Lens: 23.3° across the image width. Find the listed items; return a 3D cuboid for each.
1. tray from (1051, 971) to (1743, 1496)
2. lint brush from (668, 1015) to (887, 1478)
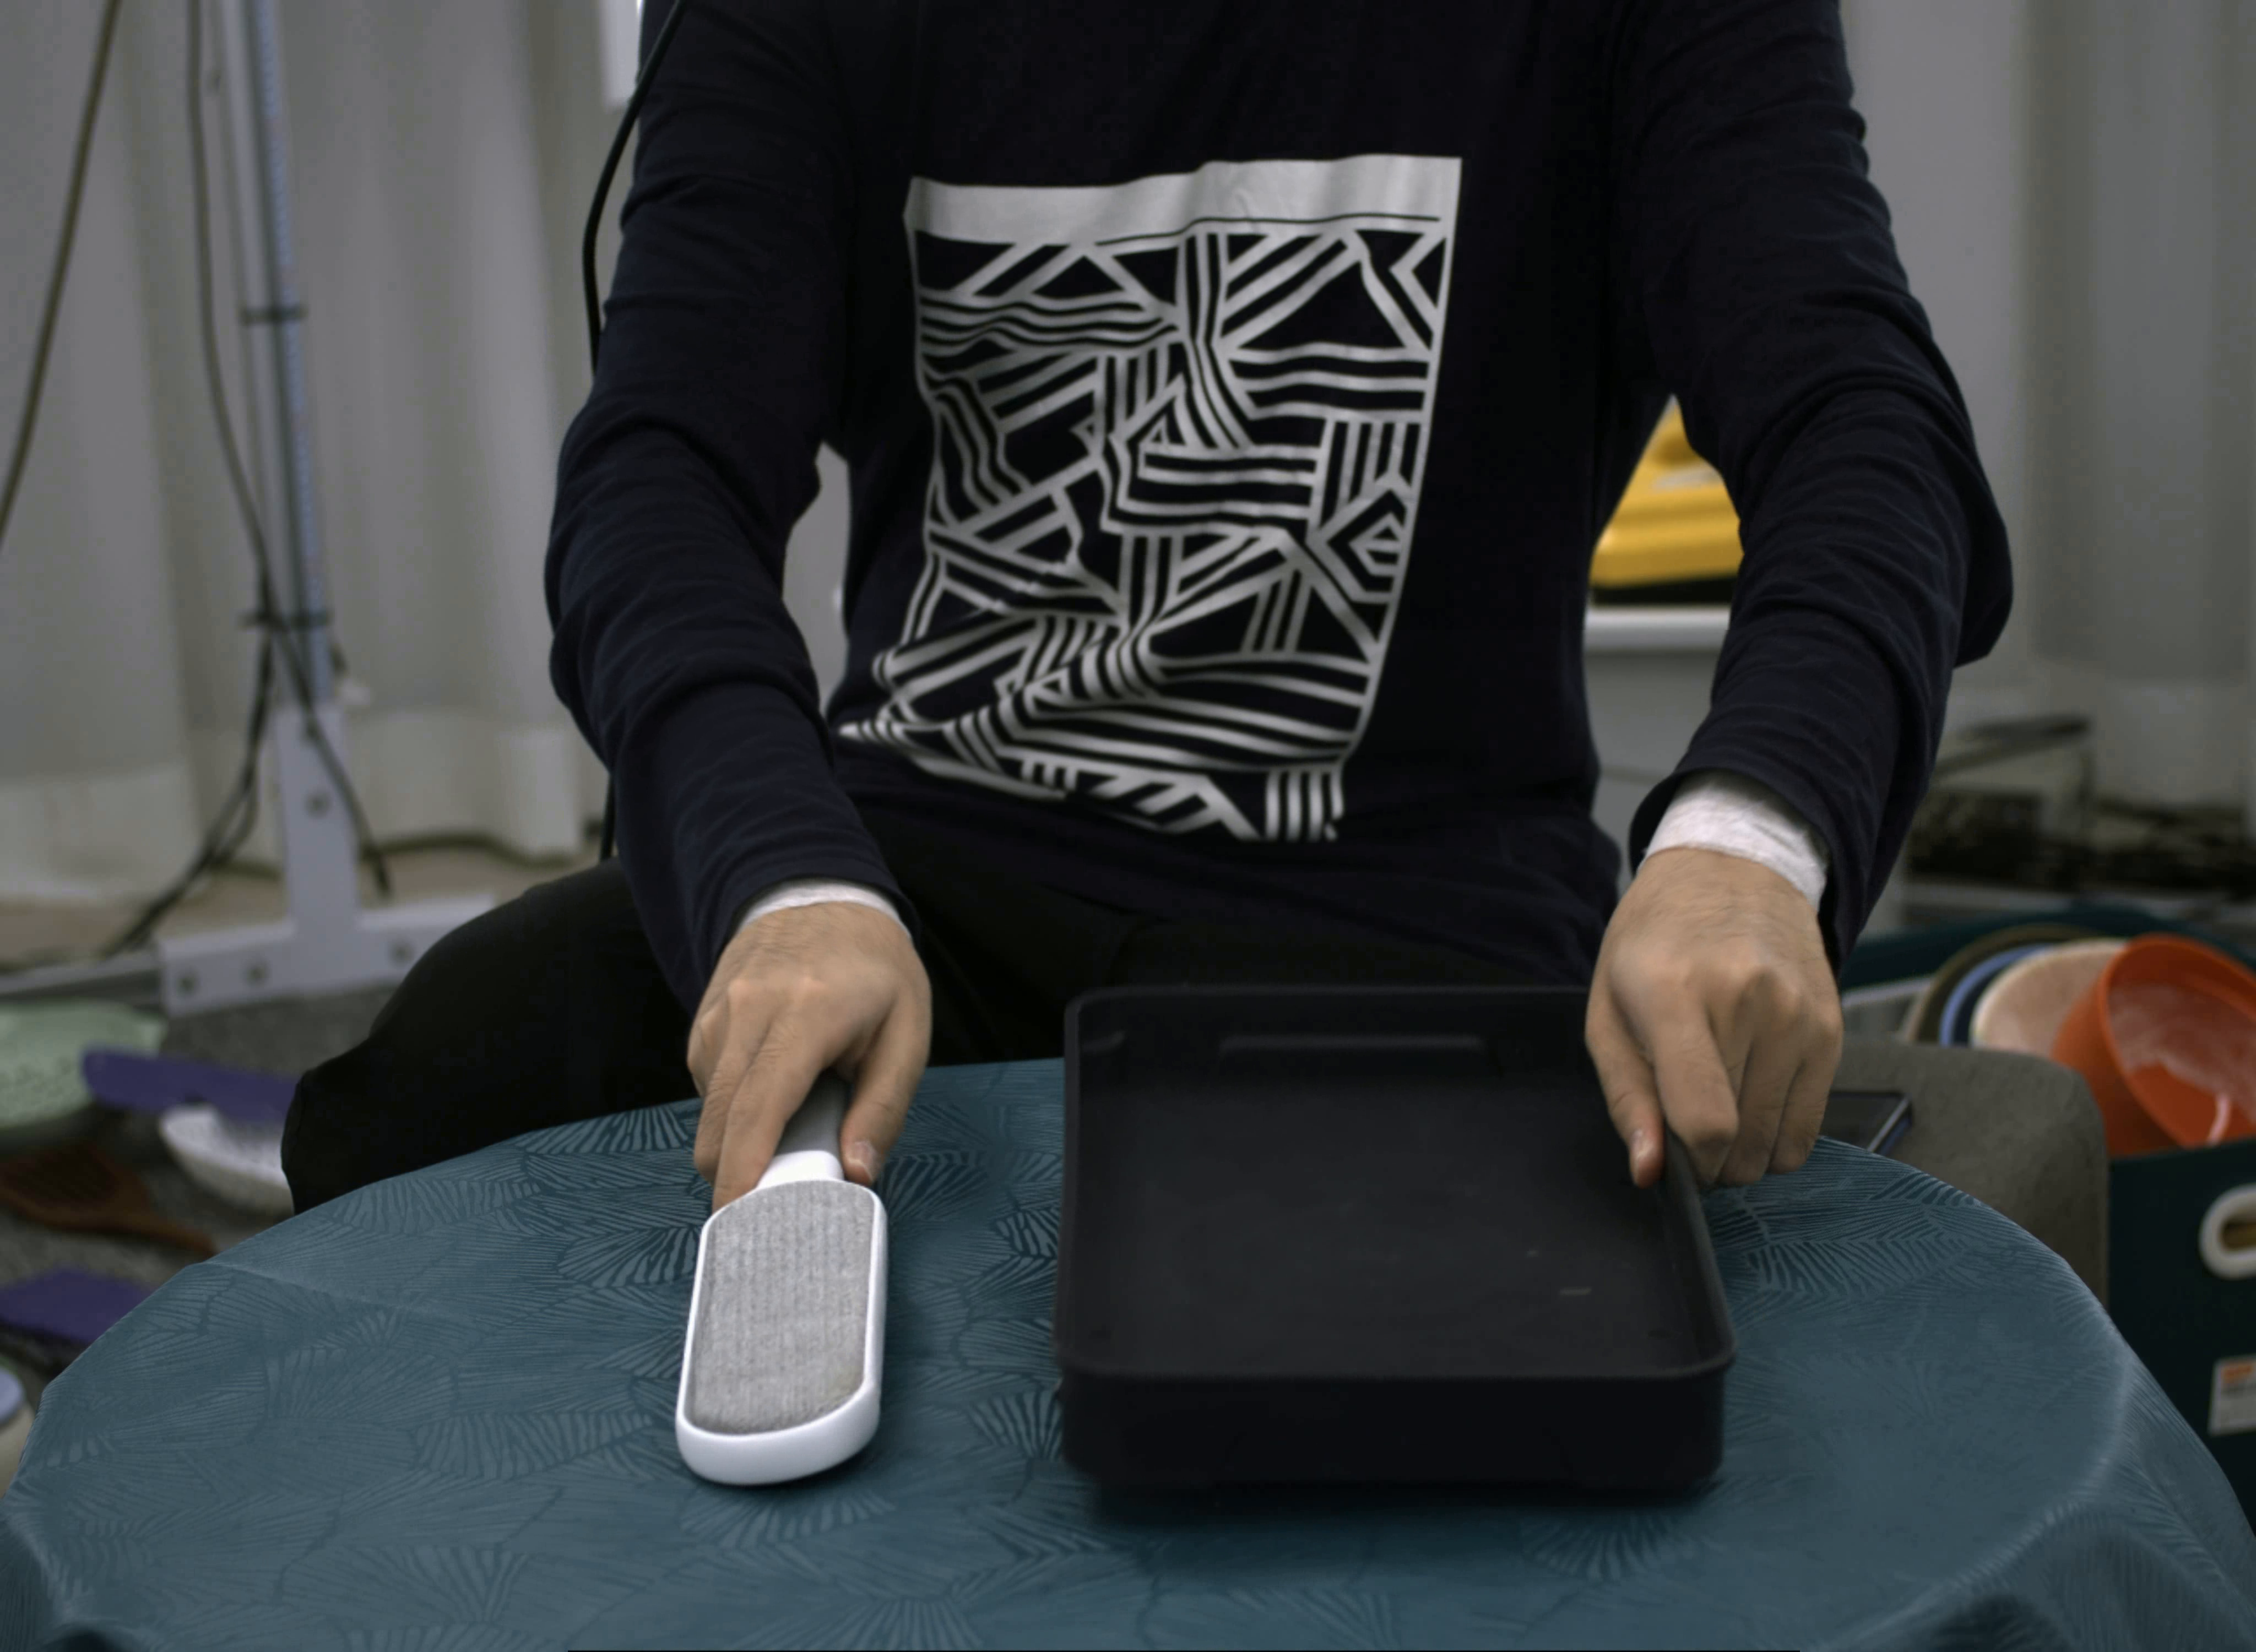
[{"bbox_3d":[0.073,0.111,1.580,0.184,0.037,0.320,2,17,1],"label":"tray"},{"bbox_3d":[-0.099,0.119,1.624,0.060,0.021,0.311,-14,19,4],"label":"lint brush"}]
